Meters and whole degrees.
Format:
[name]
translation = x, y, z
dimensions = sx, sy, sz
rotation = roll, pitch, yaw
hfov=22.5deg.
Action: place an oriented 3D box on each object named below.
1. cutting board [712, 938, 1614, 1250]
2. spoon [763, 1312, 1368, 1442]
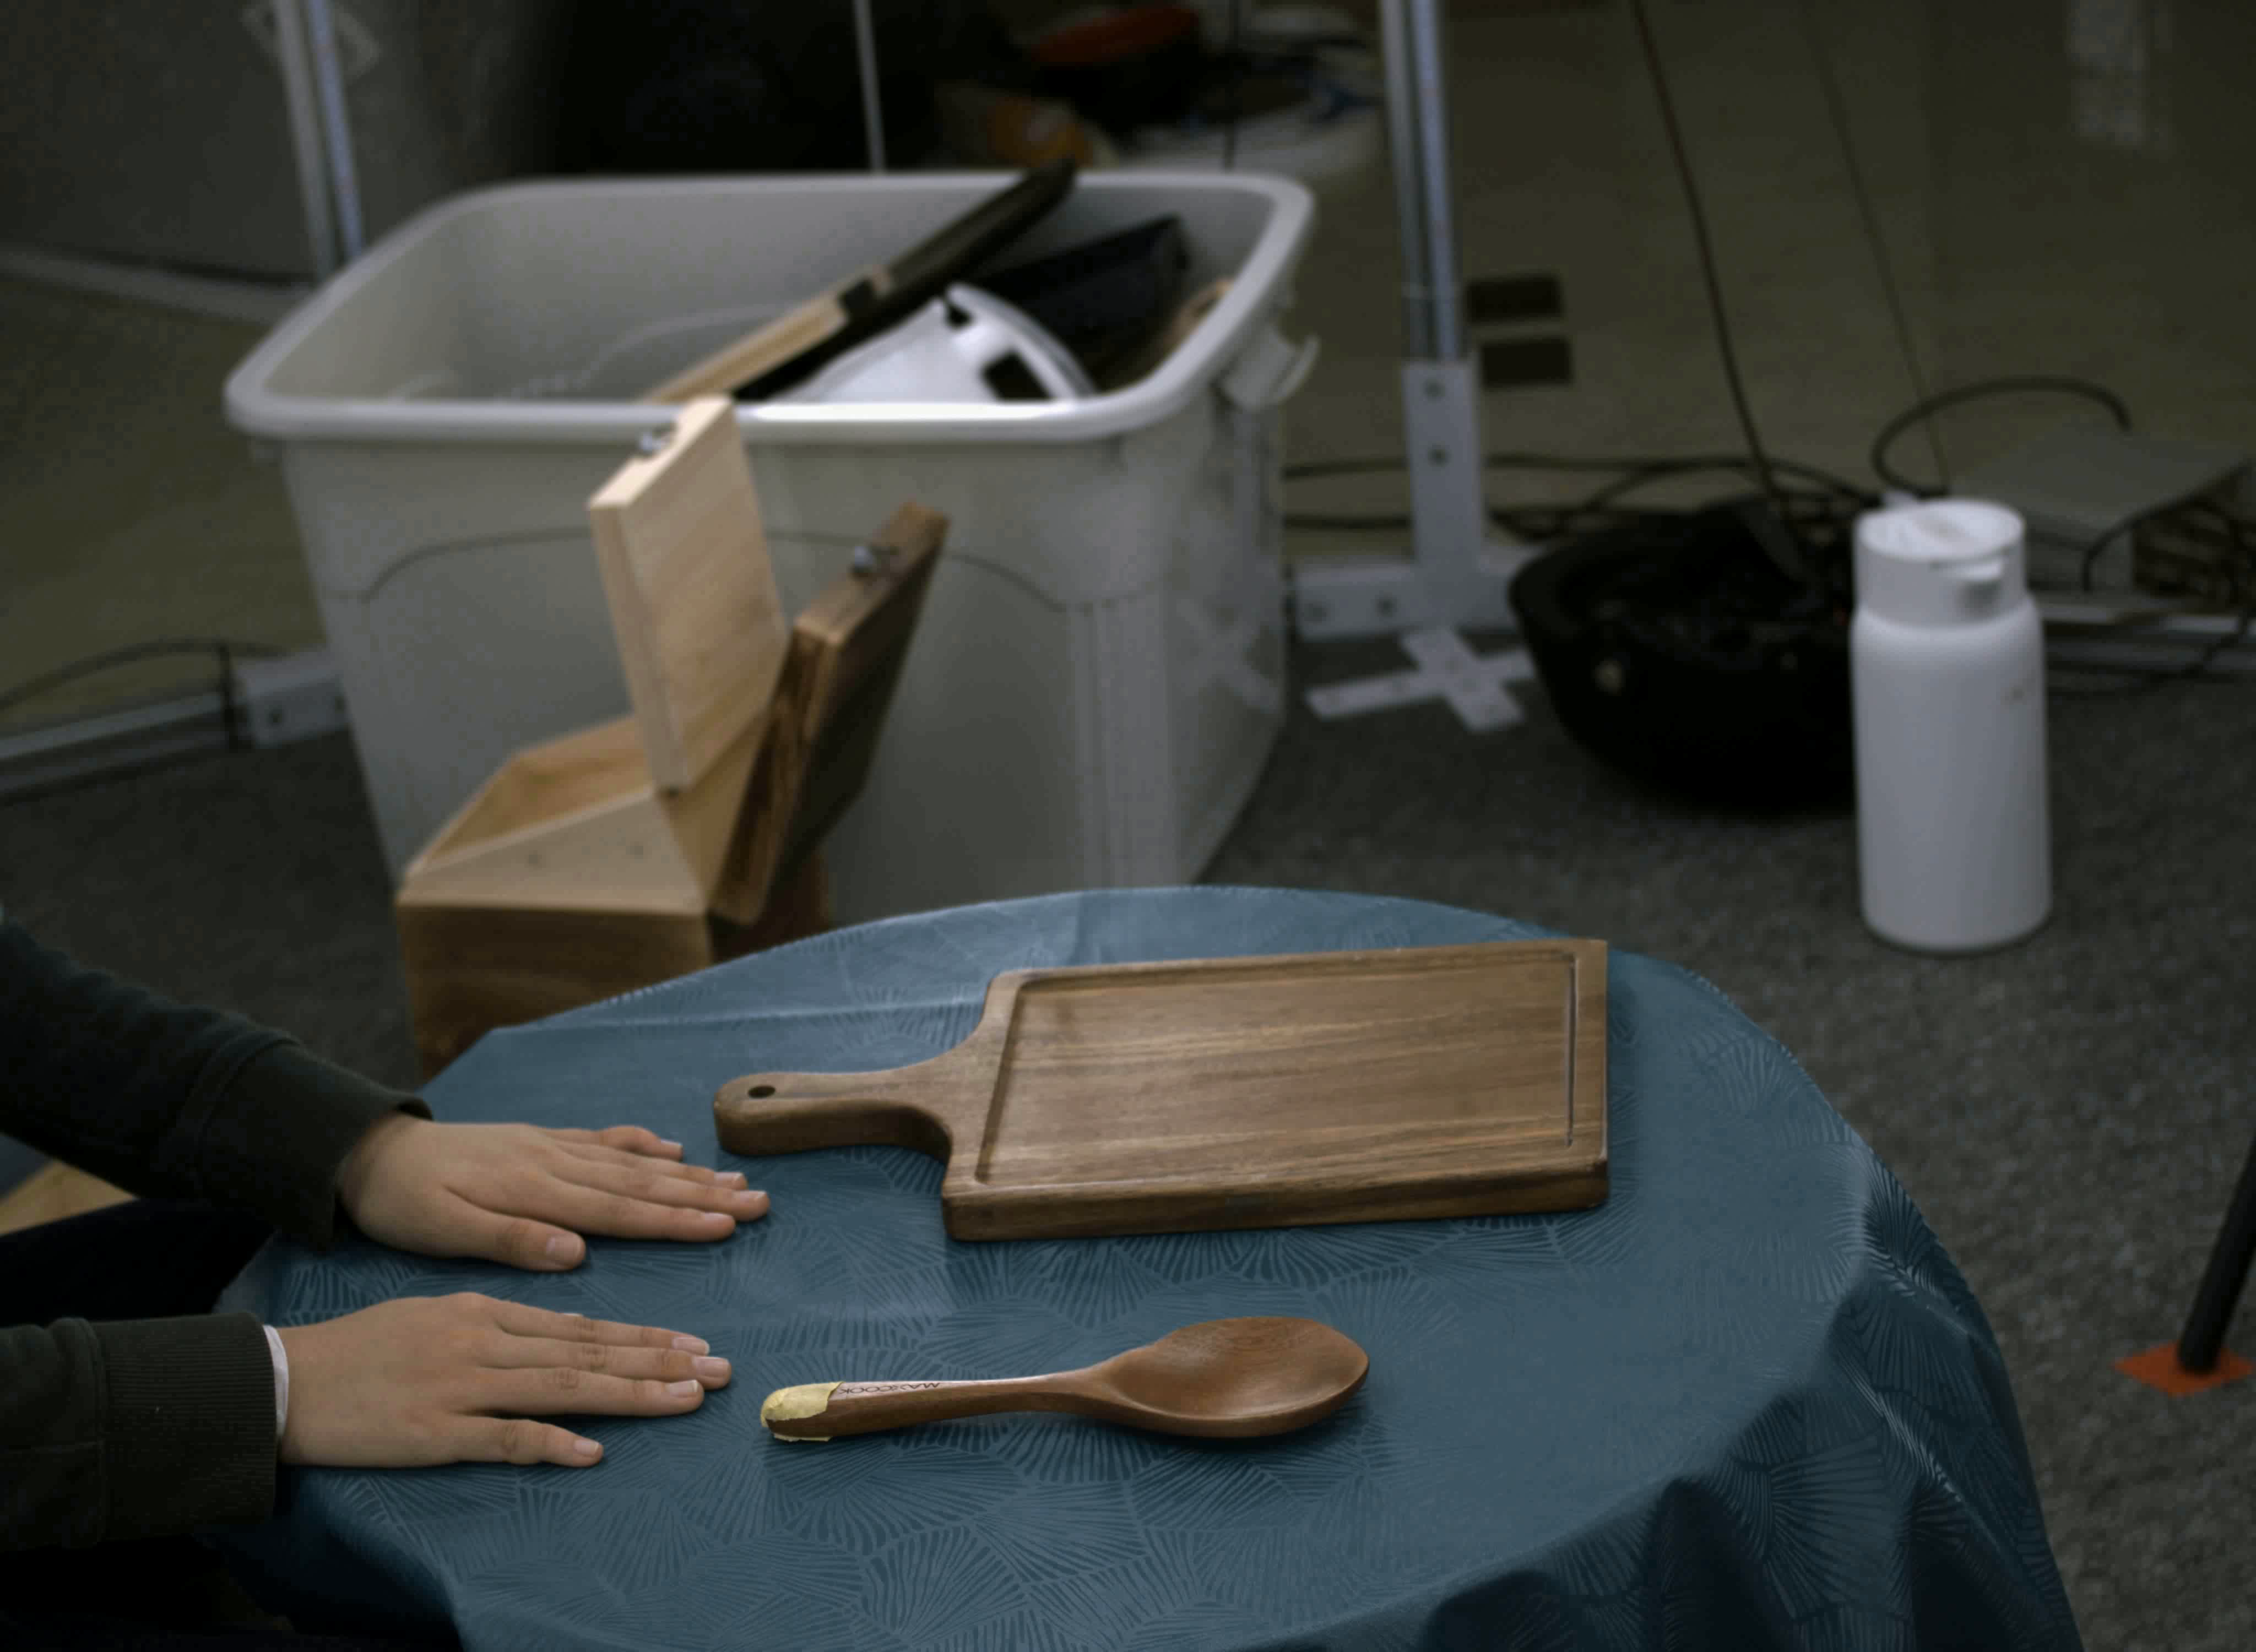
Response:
[cutting board]
translation = 0.012, 0.105, 2.202
dimensions = 0.351, 0.023, 0.198
rotation = -4, 26, 7
[spoon]
translation = -0.022, 0.200, 2.006
dimensions = 0.215, 0.017, 0.074
rotation = -3, 27, 5
